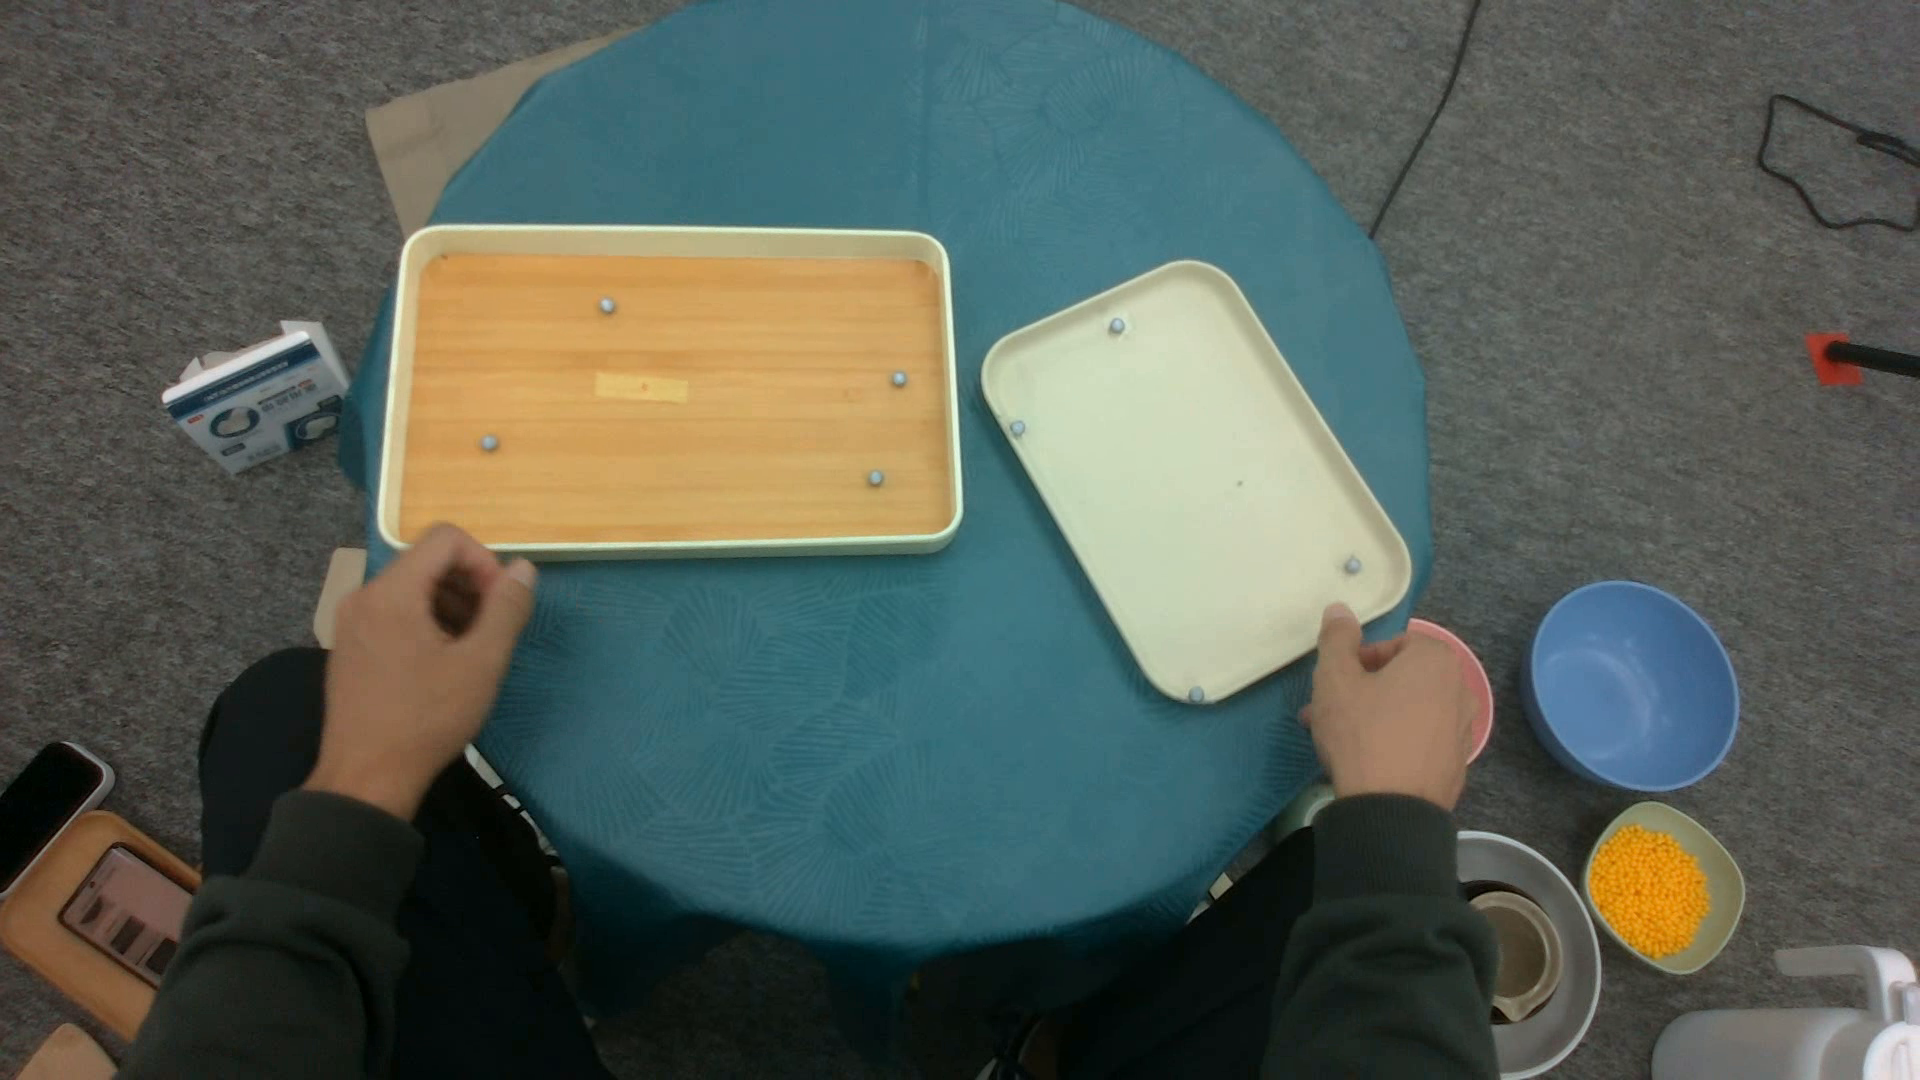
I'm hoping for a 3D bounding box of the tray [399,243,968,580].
[{"bbox_3d":[-0.150,-0.075,0.770,0.300,0.027,0.192,-2,71,-6],"label":"tray"}]

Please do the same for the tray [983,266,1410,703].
[{"bbox_3d":[0.133,-0.037,0.788,0.171,0.017,0.240,-26,75,-14],"label":"tray"}]
